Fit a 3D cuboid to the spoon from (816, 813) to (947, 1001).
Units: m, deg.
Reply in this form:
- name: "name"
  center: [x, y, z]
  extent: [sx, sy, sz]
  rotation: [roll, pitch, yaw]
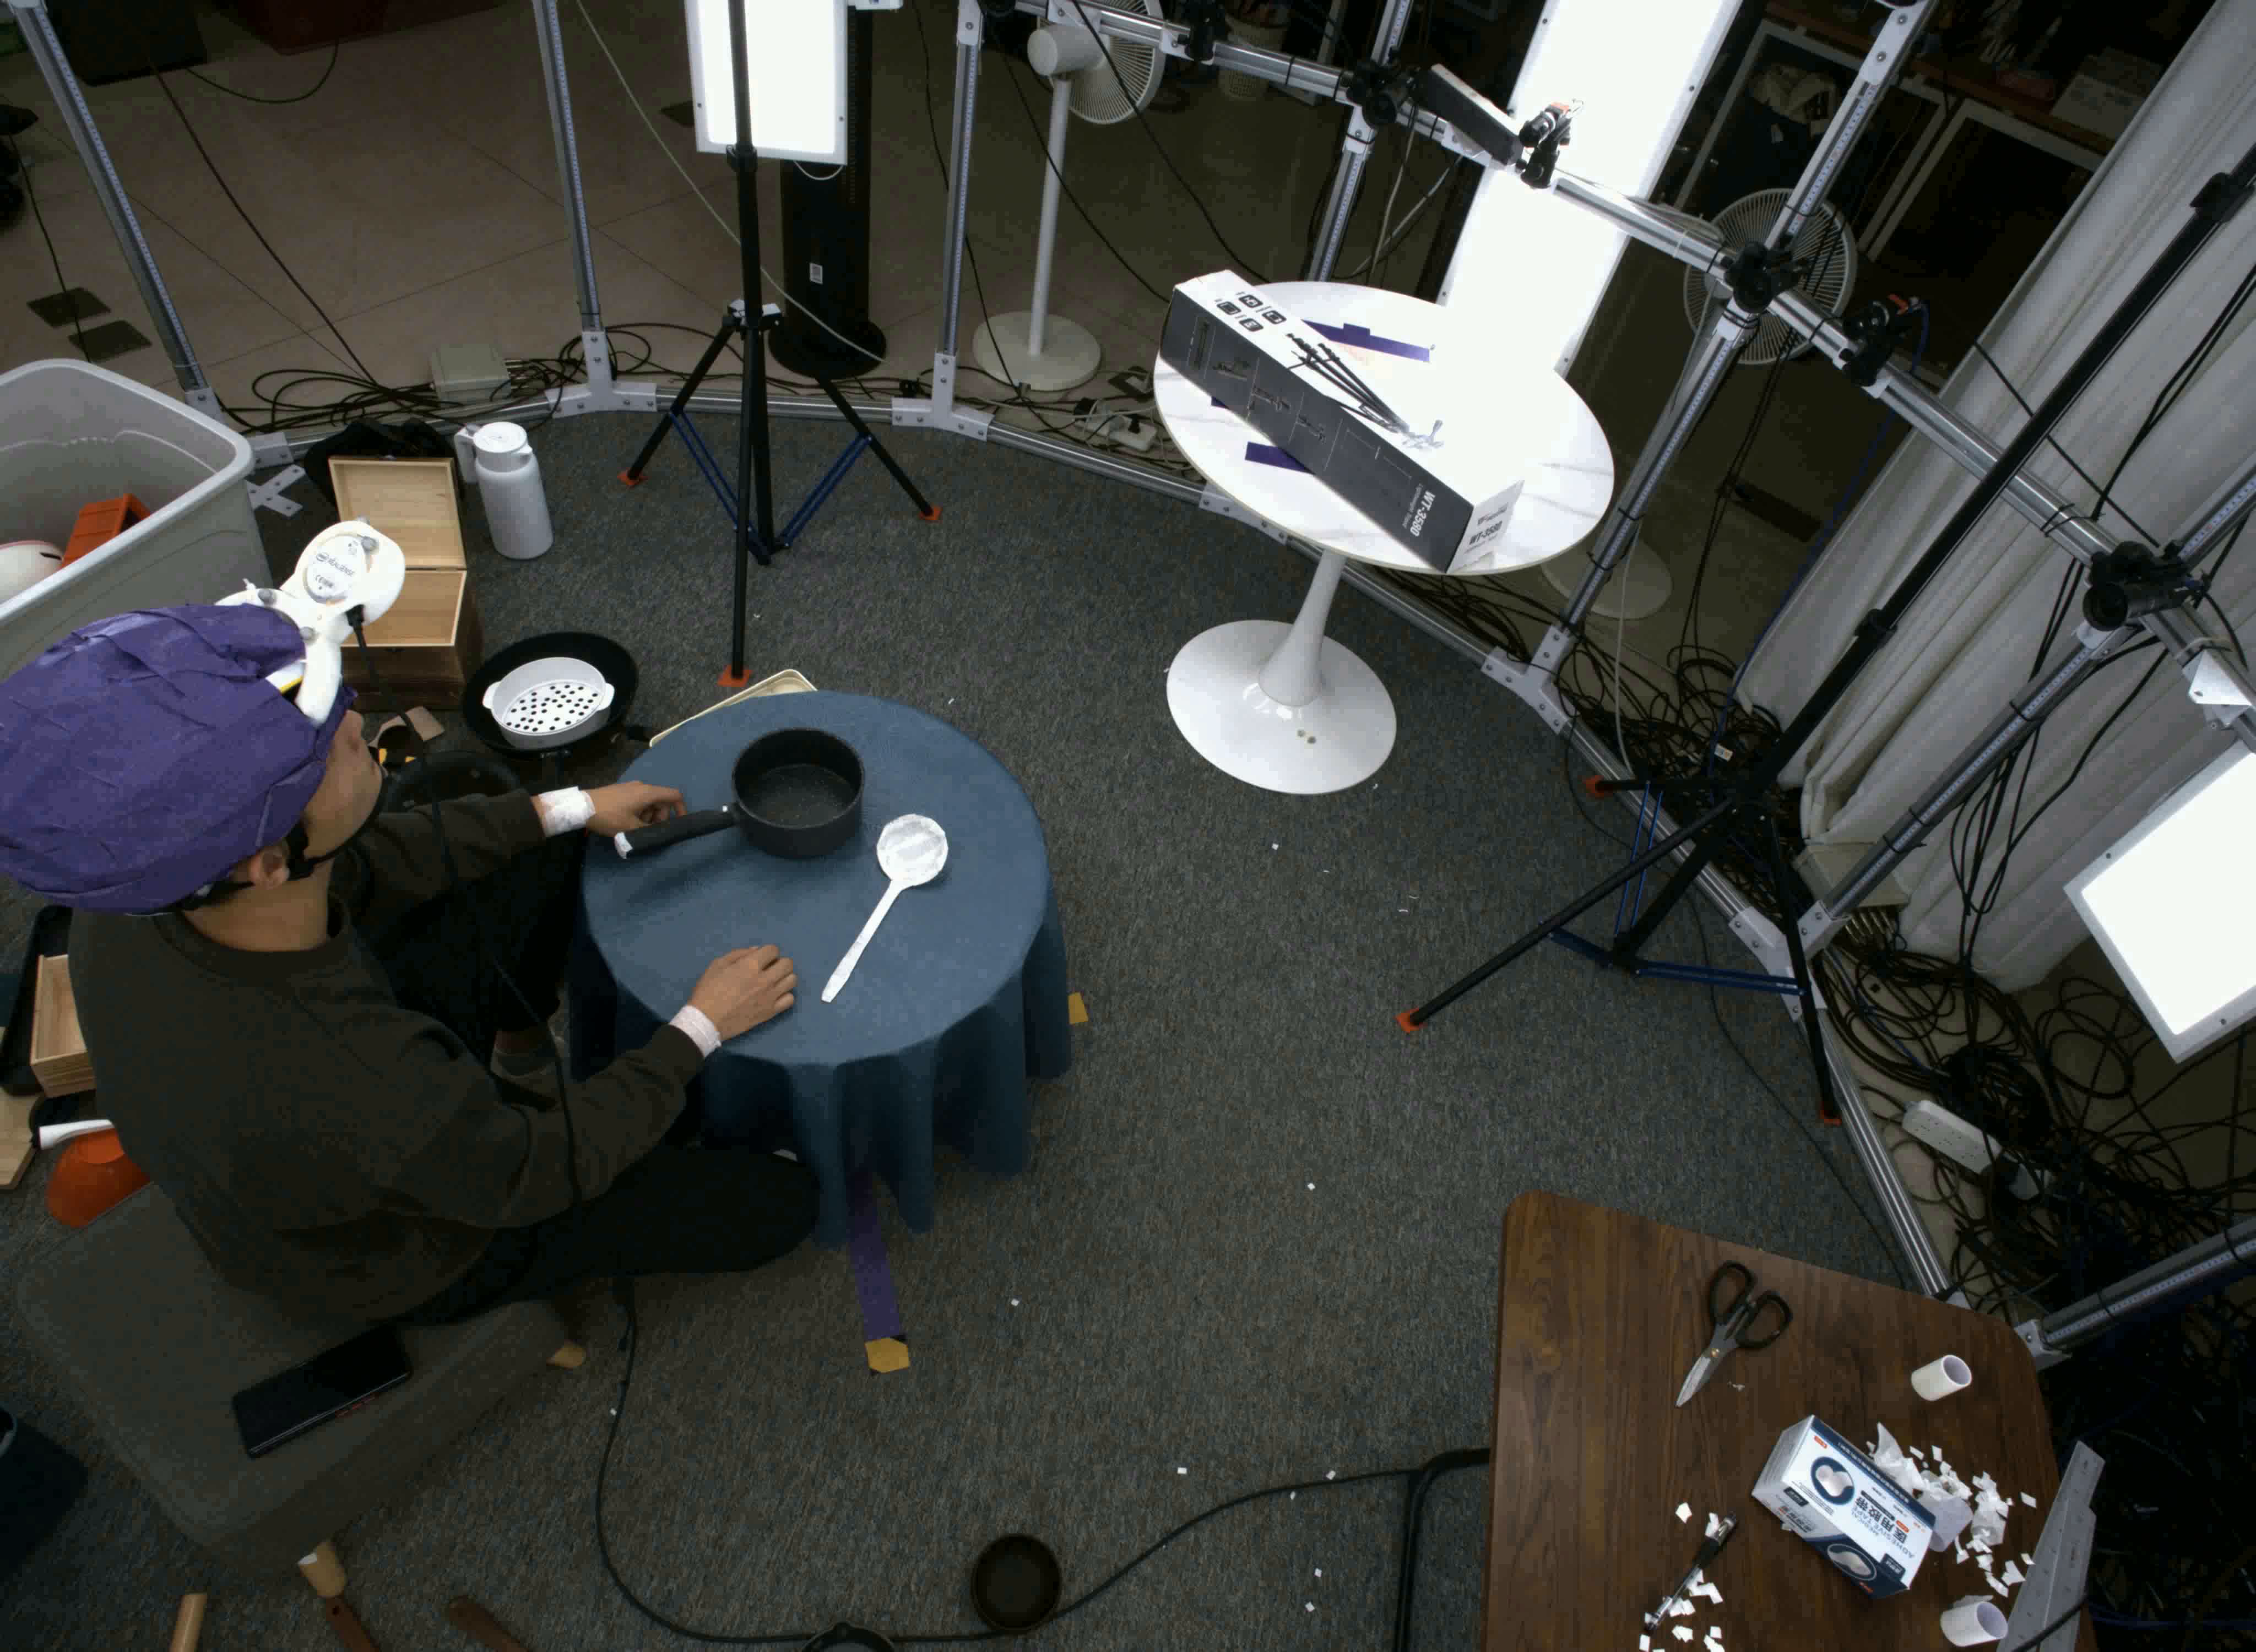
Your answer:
- name: "spoon"
  center: [-0.325, 0.097, 1.652]
  extent: [0.099, 0.061, 0.275]
  rotation: [24, 52, 8]

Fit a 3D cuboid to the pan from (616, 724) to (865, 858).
- name: "pan"
  center: [-0.498, -0.019, 1.677]
  extent: [0.330, 0.088, 0.167]
  rotation: [-22, 61, -28]
